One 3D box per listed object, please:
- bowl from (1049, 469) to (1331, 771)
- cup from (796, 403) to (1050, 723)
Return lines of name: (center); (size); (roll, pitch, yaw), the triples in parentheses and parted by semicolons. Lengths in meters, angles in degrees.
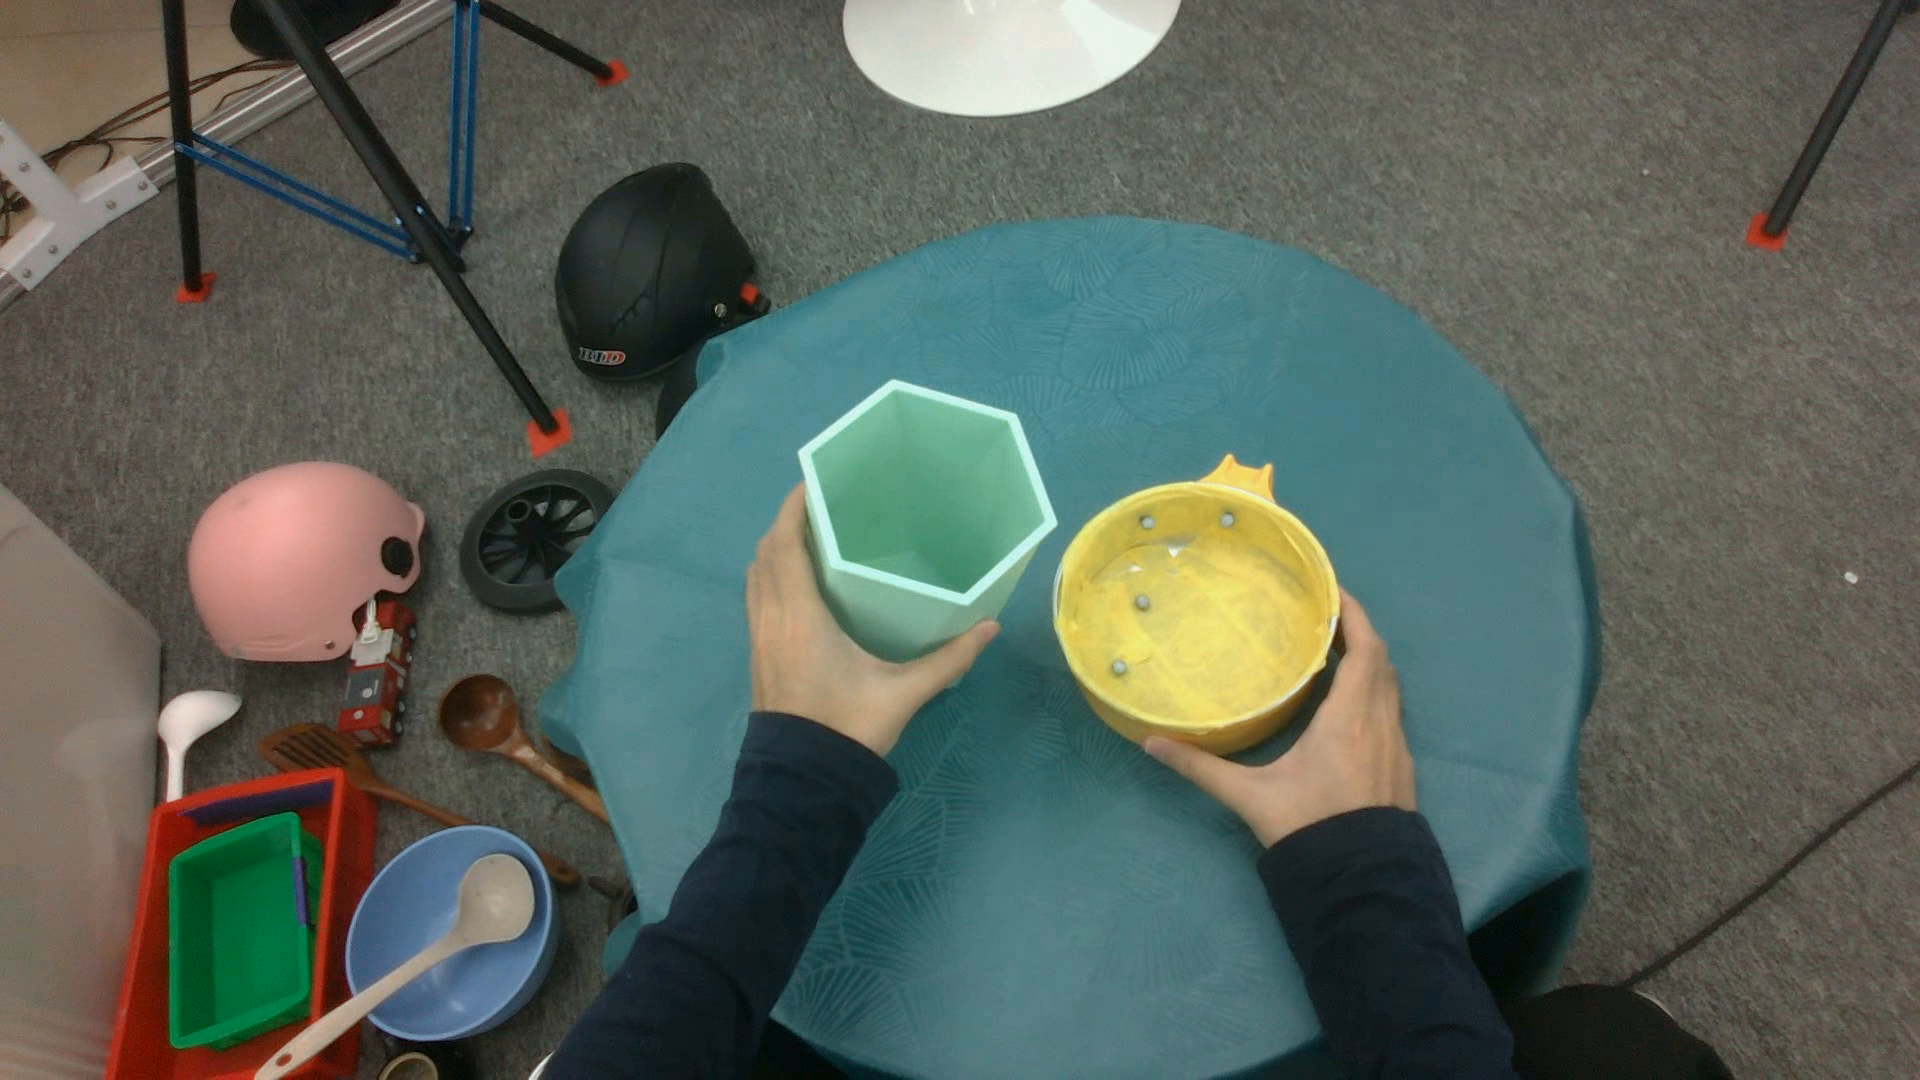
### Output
bowl: (0.135, 0.046, 0.787); (0.153, 0.074, 0.180); (12, 63, 18)
cup: (-0.030, 0.022, 0.747); (0.131, 0.162, 0.115); (14, 60, -2)
